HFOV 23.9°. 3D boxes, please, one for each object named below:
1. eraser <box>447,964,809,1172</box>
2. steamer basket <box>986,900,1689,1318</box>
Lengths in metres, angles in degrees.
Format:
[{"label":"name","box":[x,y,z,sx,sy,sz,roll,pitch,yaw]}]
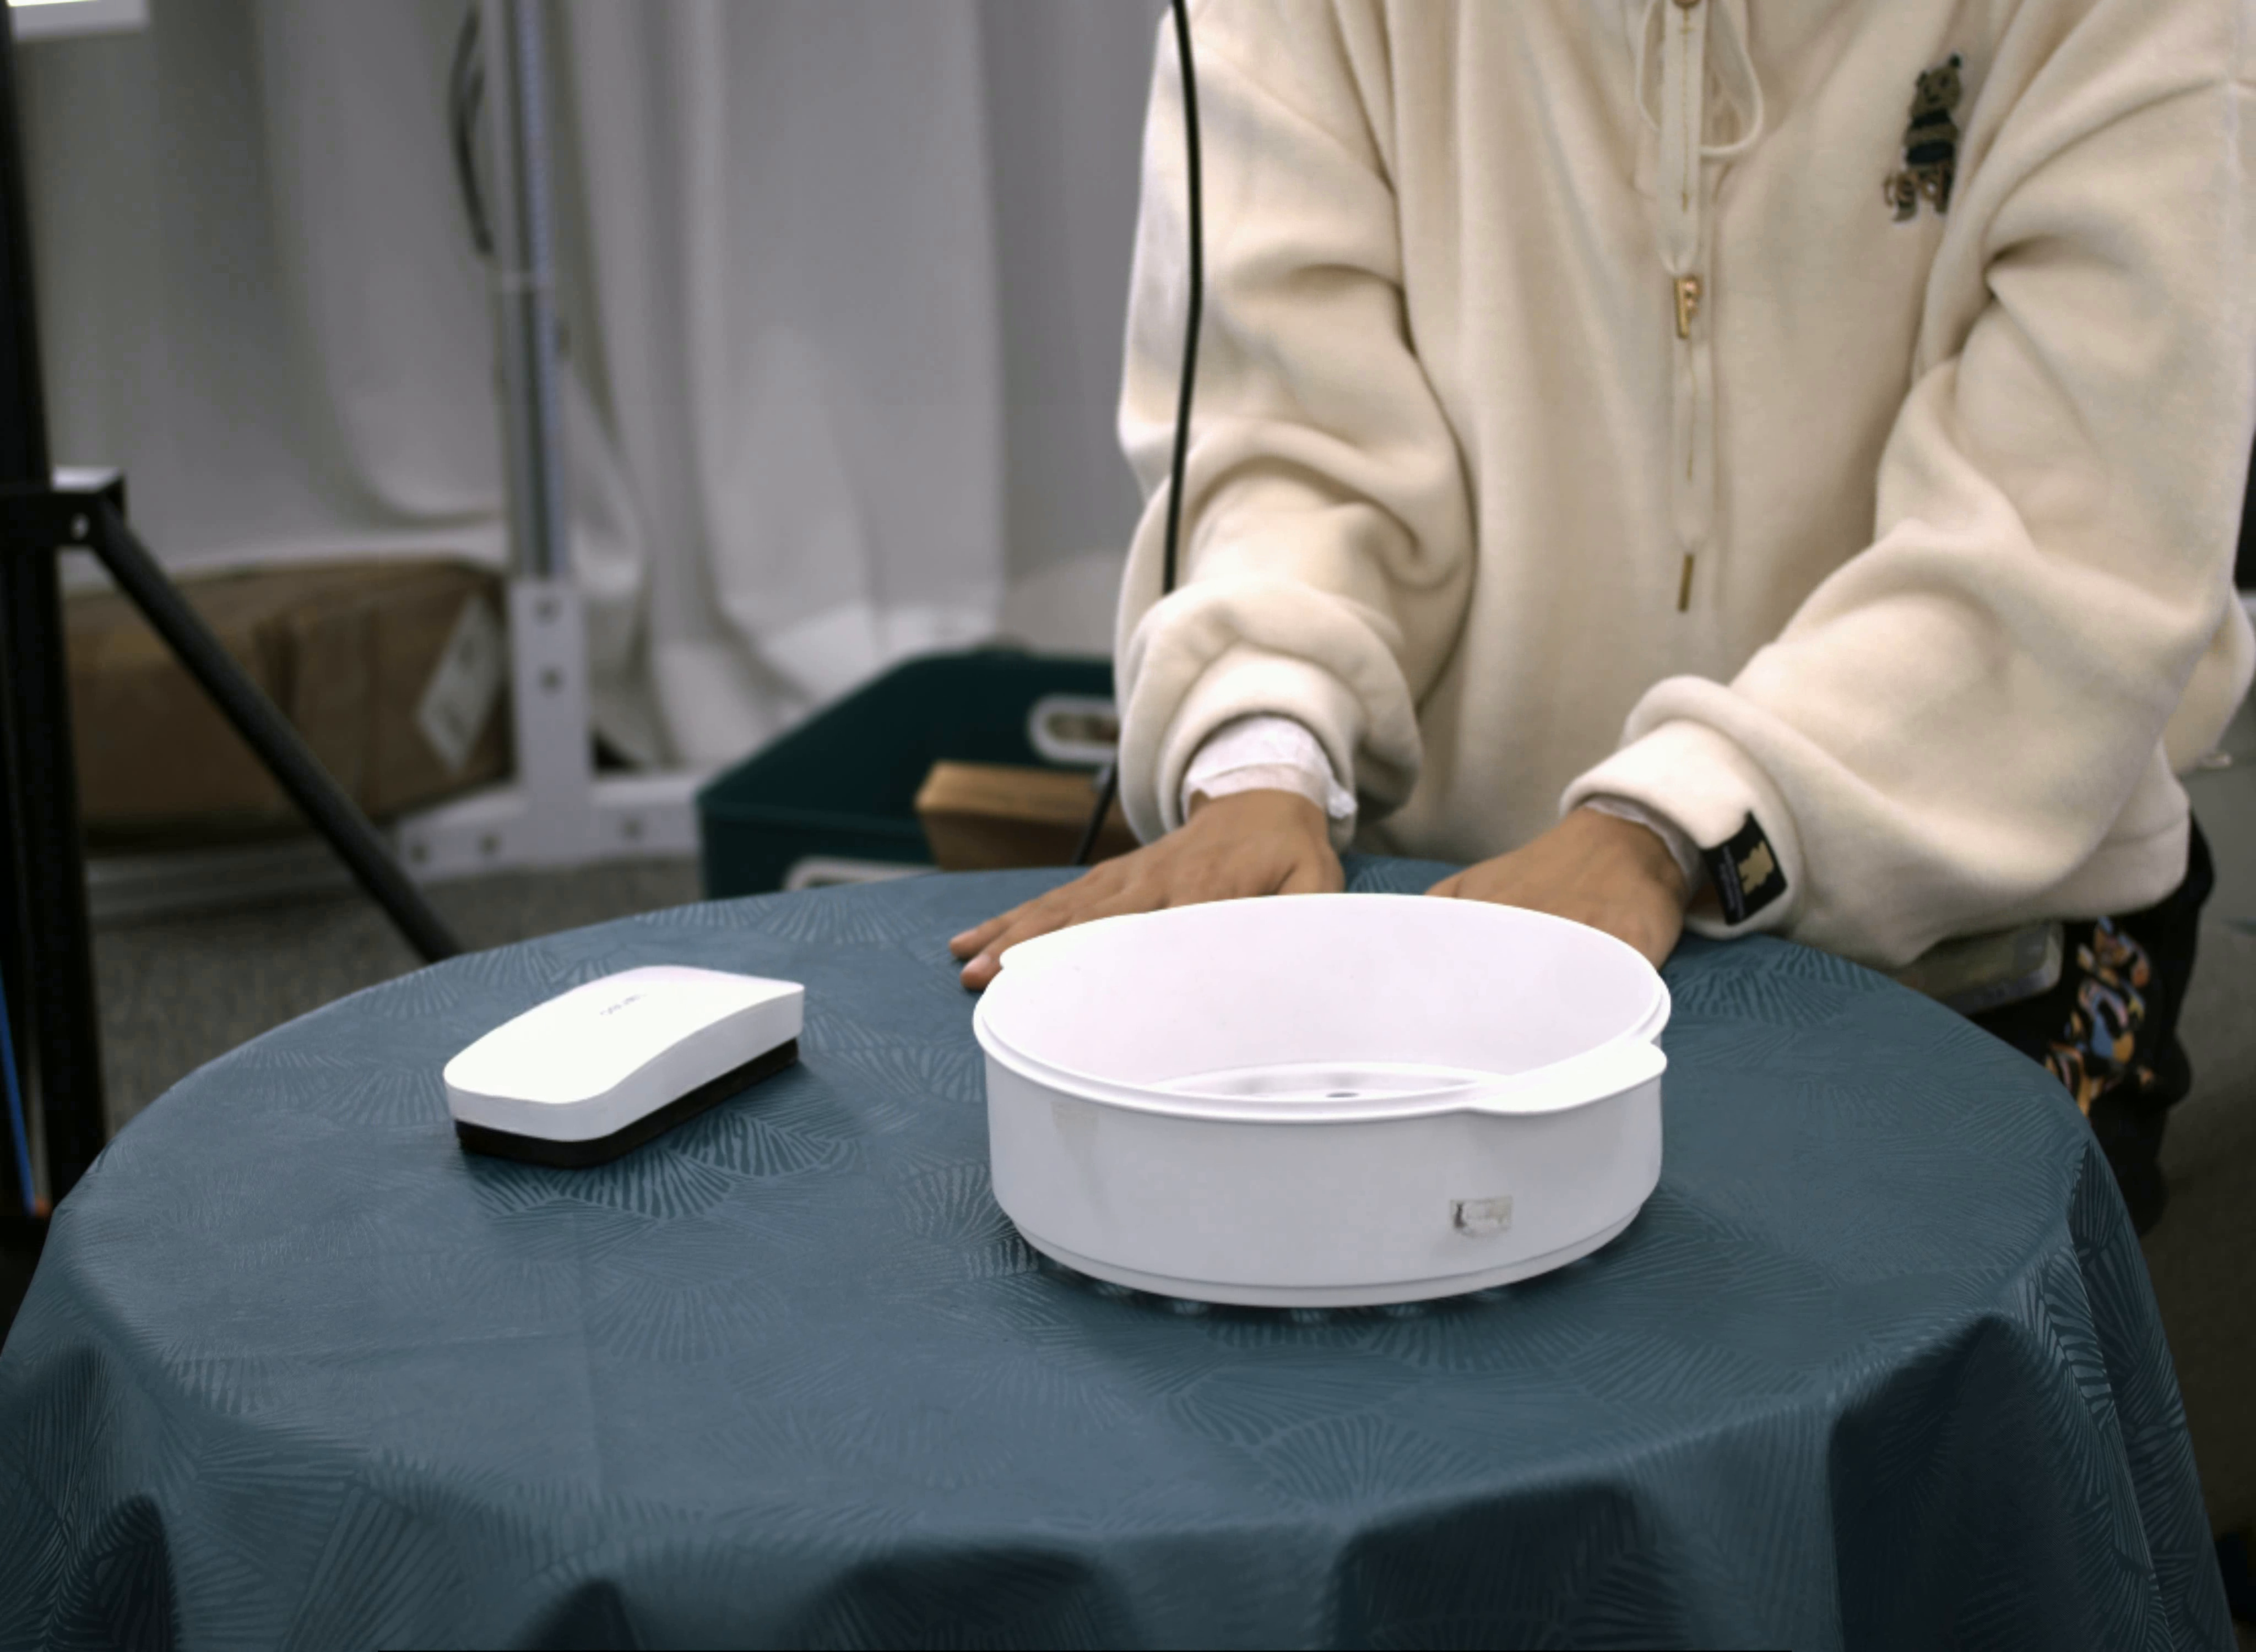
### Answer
[{"label":"eraser","box":[-0.153,0.071,1.657,0.064,0.034,0.129,6,19,31]},{"label":"steamer basket","box":[0.060,0.081,1.522,0.197,0.069,0.236,-15,21,-39]}]
